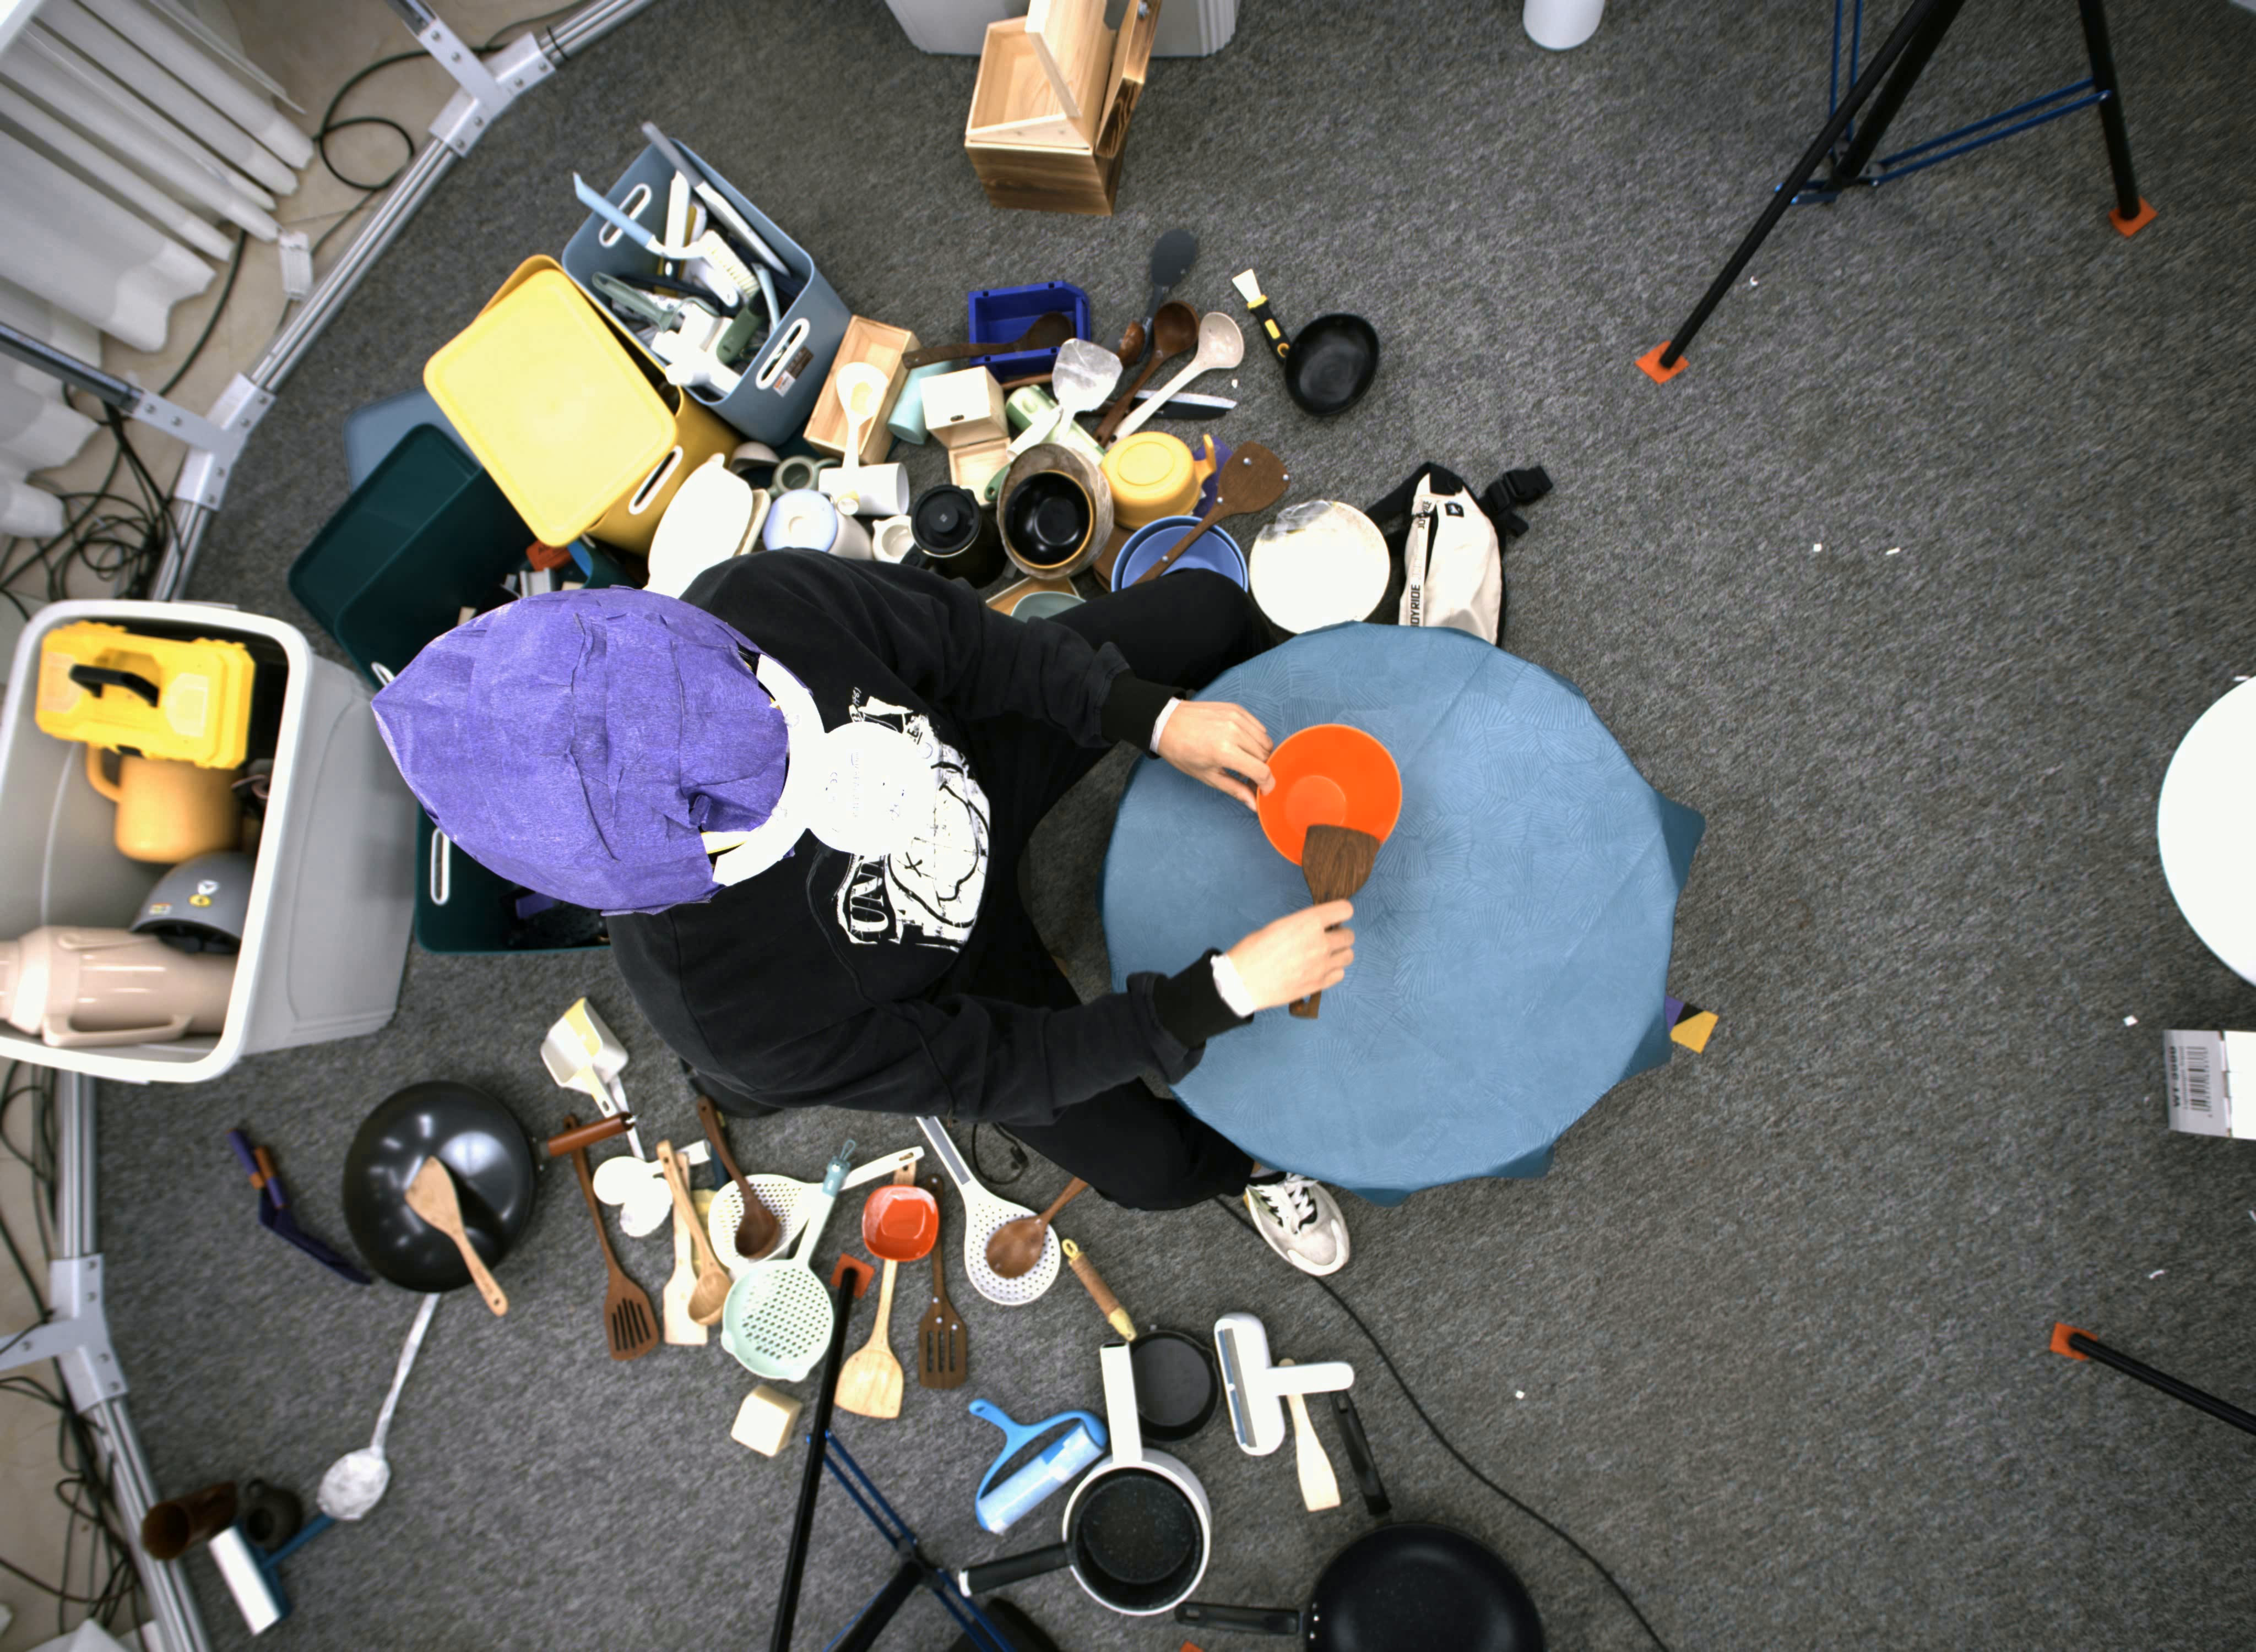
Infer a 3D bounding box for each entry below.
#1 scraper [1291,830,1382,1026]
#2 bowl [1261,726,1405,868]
[{"bbox_3d":[0.193,0.097,1.350,0.076,0.011,0.206,13,64,9],"label":"scraper"},{"bbox_3d":[0.204,-0.028,1.425,0.148,0.104,0.148,0,93,-2],"label":"bowl"}]
